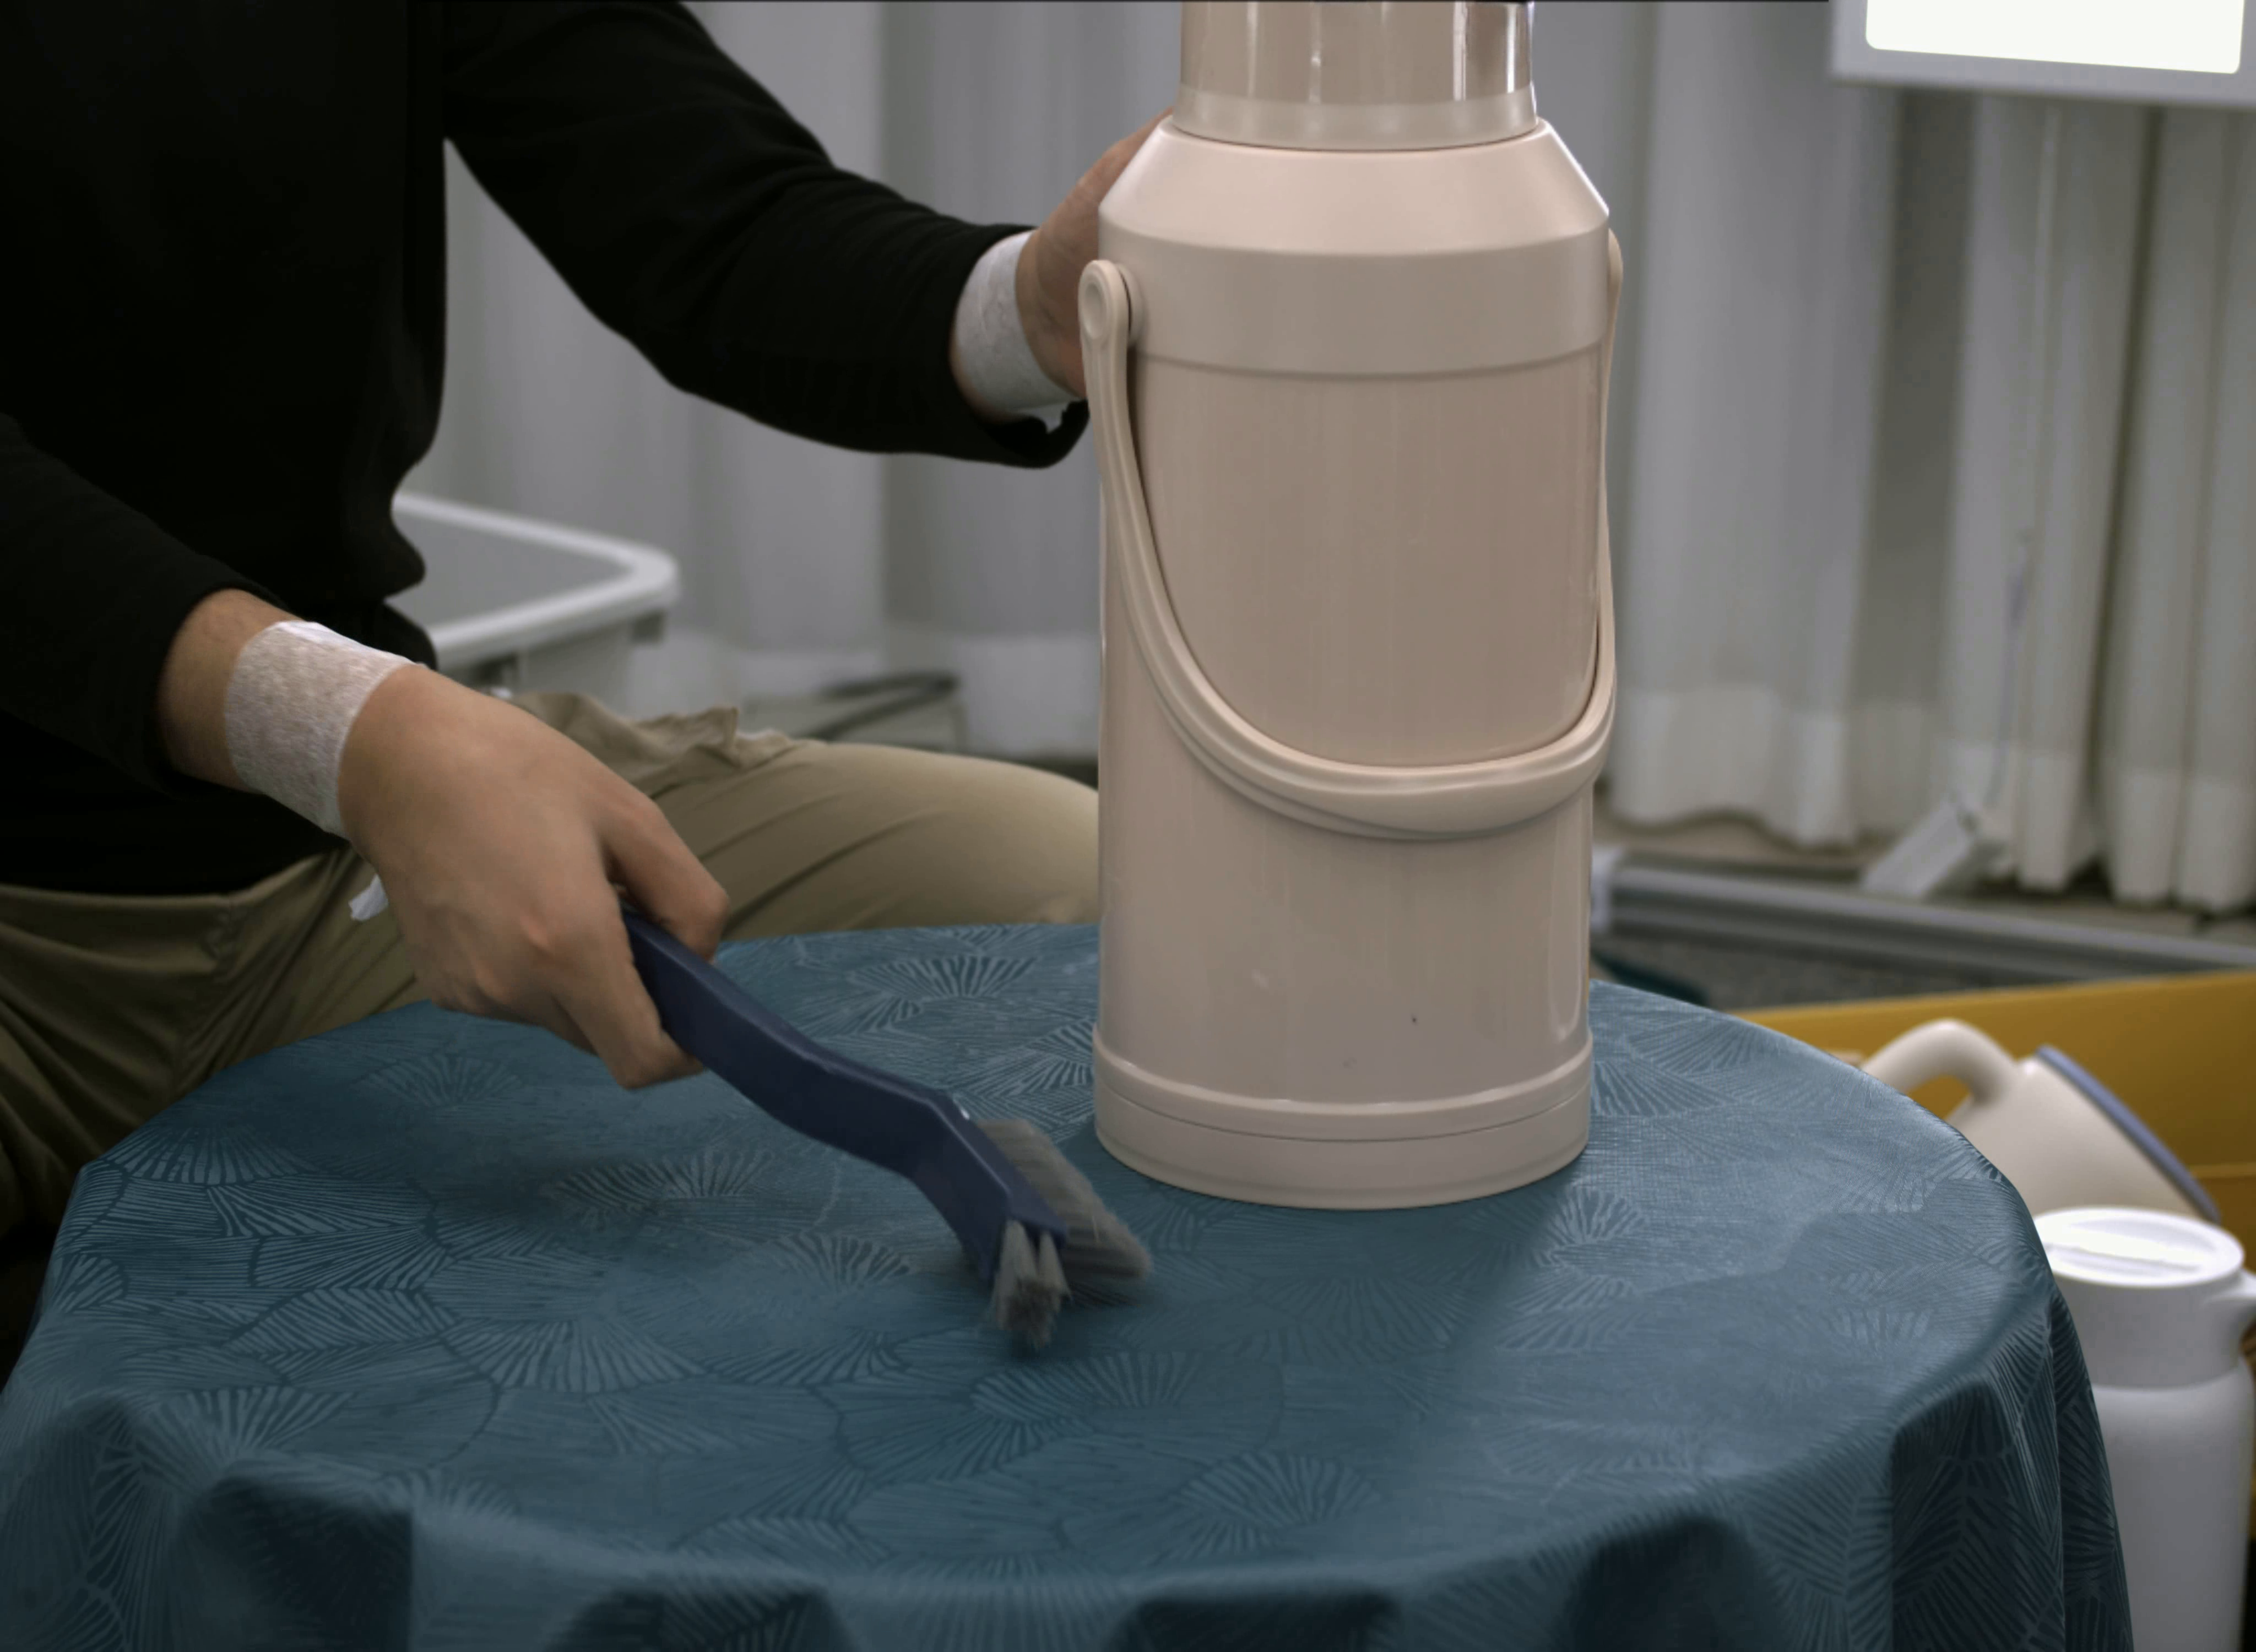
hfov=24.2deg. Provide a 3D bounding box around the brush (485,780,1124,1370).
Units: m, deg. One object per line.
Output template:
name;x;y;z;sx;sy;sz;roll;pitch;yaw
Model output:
brush;-0.110;0.069;1.561;0.270;0.034;0.096;32;26;25

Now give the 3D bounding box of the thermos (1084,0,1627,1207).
thermos;0.066;-0.099;1.638;0.176;0.410;0.204;-9;19;-25
